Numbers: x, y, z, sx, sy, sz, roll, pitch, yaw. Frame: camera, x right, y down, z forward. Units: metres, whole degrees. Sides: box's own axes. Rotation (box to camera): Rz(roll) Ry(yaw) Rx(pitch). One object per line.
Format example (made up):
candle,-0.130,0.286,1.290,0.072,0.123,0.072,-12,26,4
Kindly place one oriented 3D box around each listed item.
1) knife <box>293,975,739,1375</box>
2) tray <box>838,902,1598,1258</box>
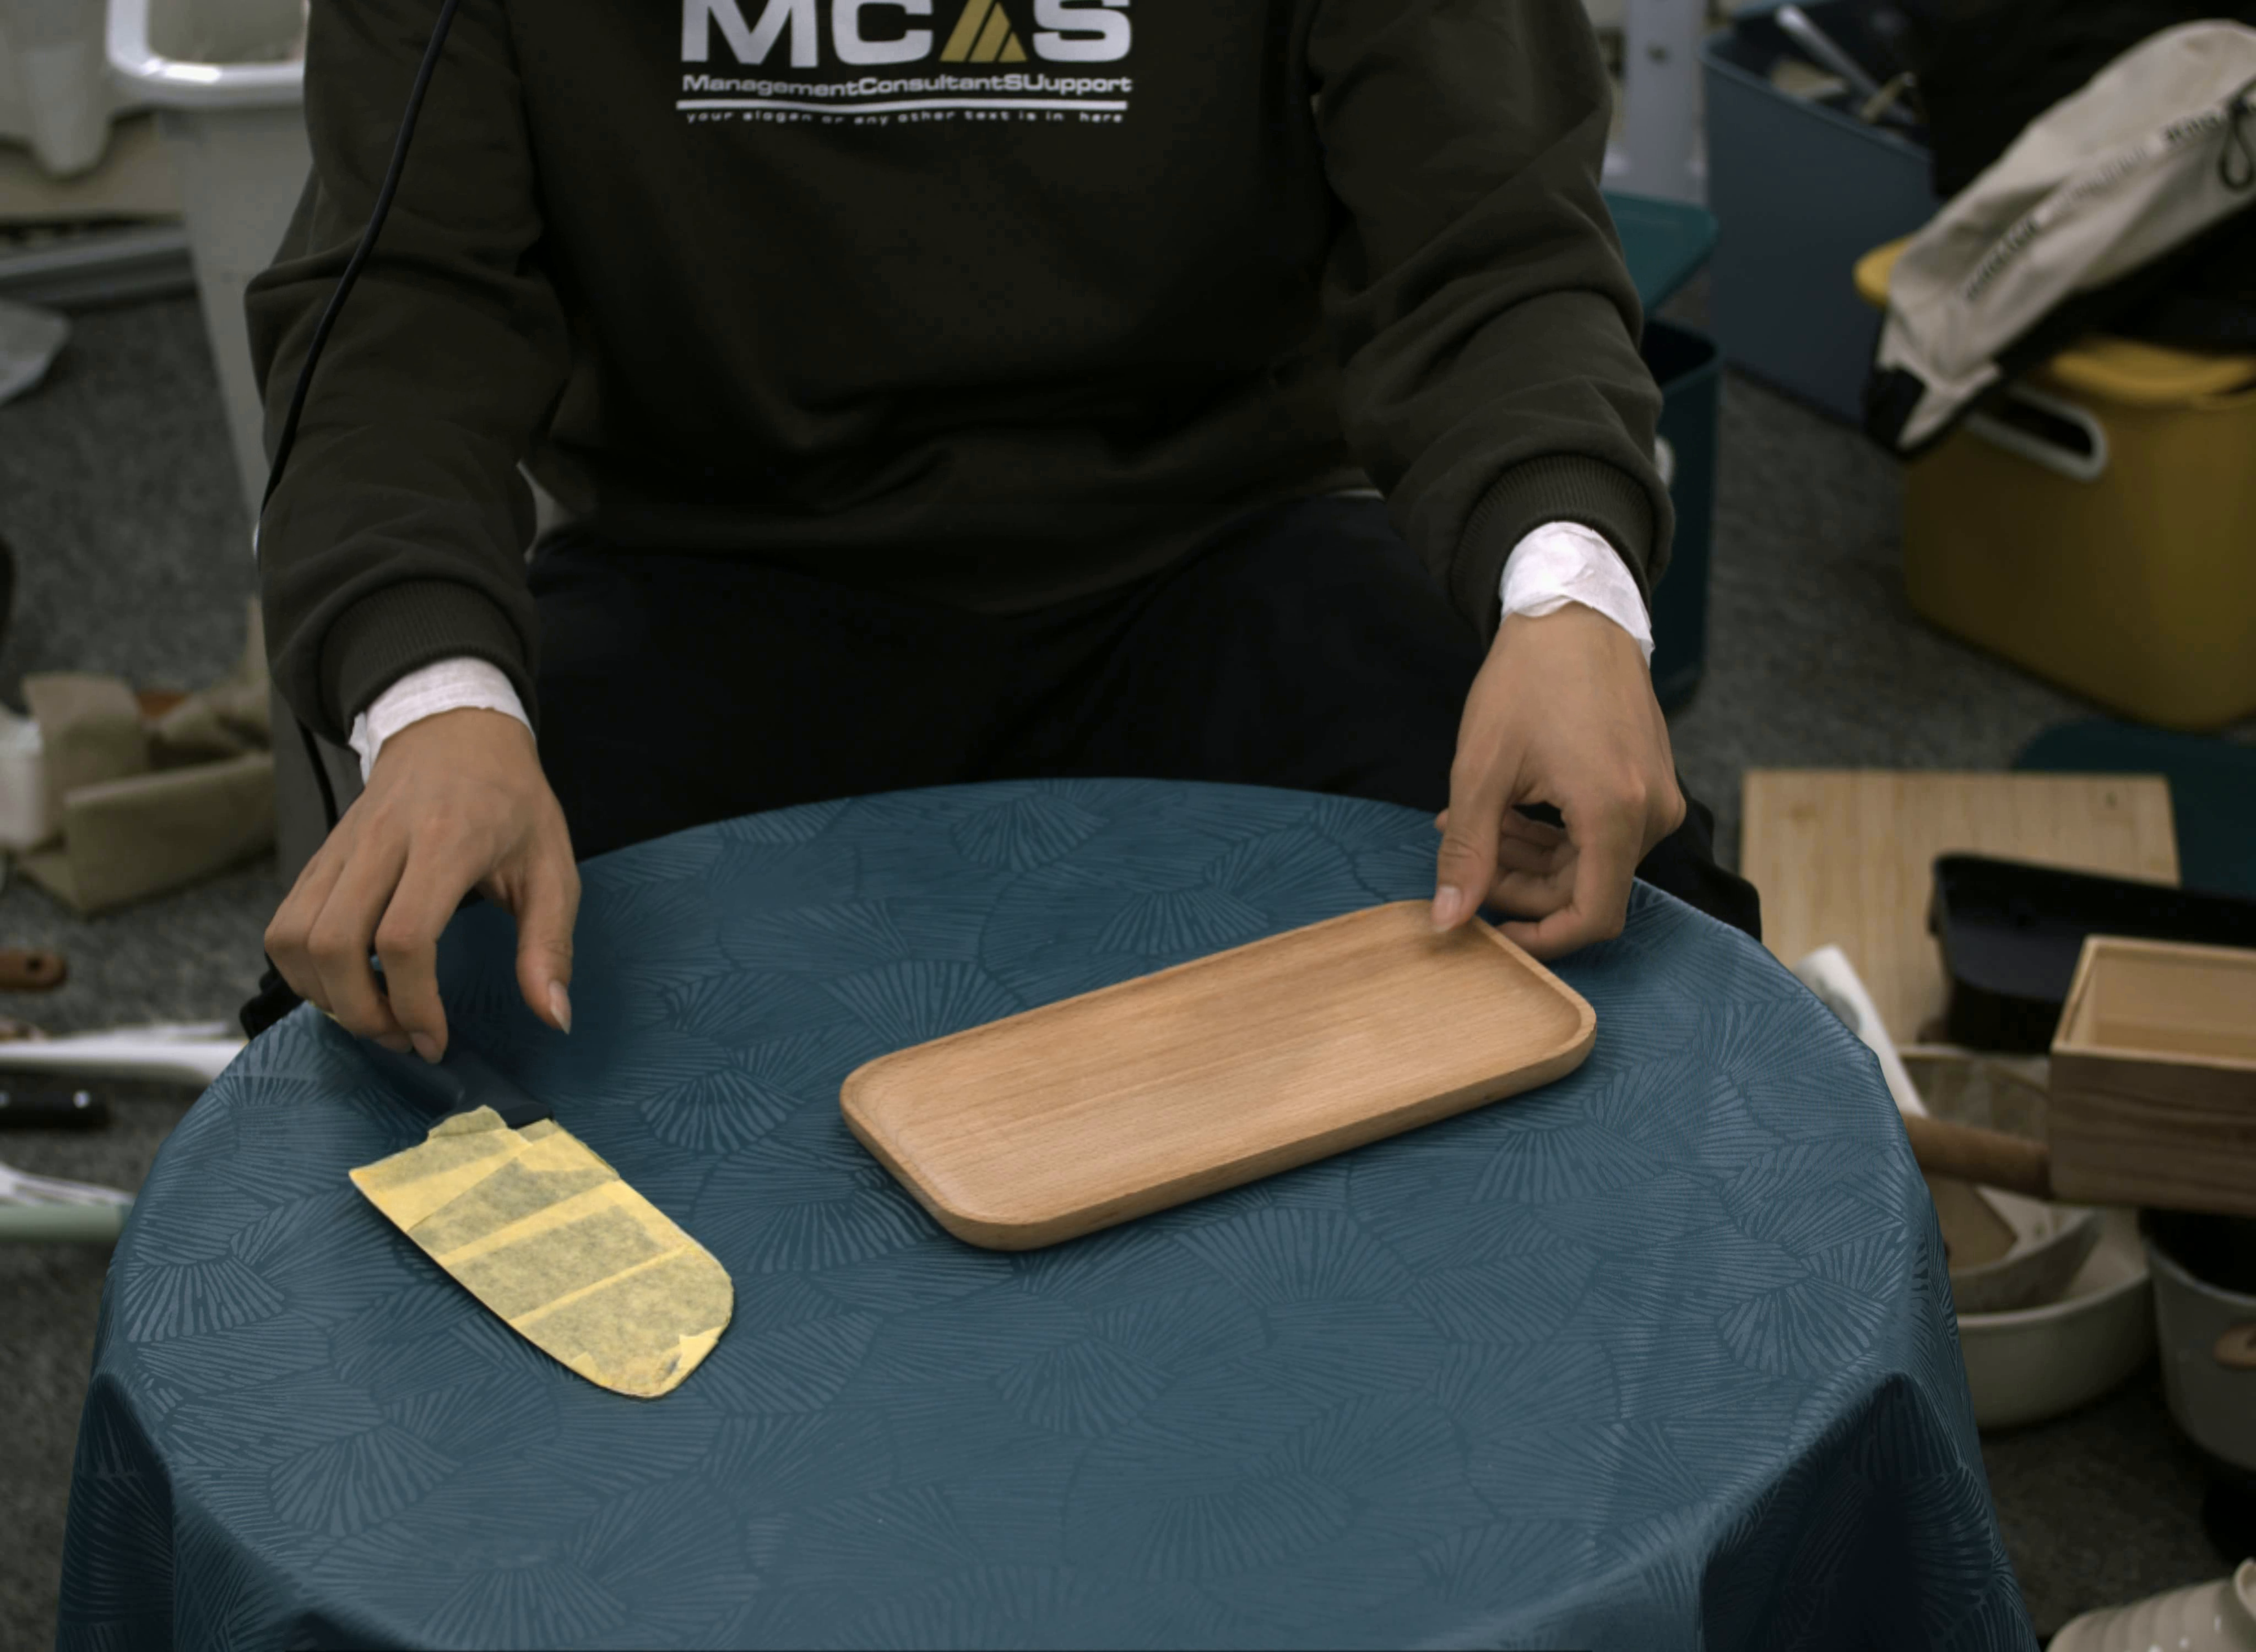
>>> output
knife,-0.217,0.117,1.875,0.081,0.027,0.290,-17,31,-29
tray,0.031,0.085,1.912,0.252,0.022,0.131,-17,28,-24
